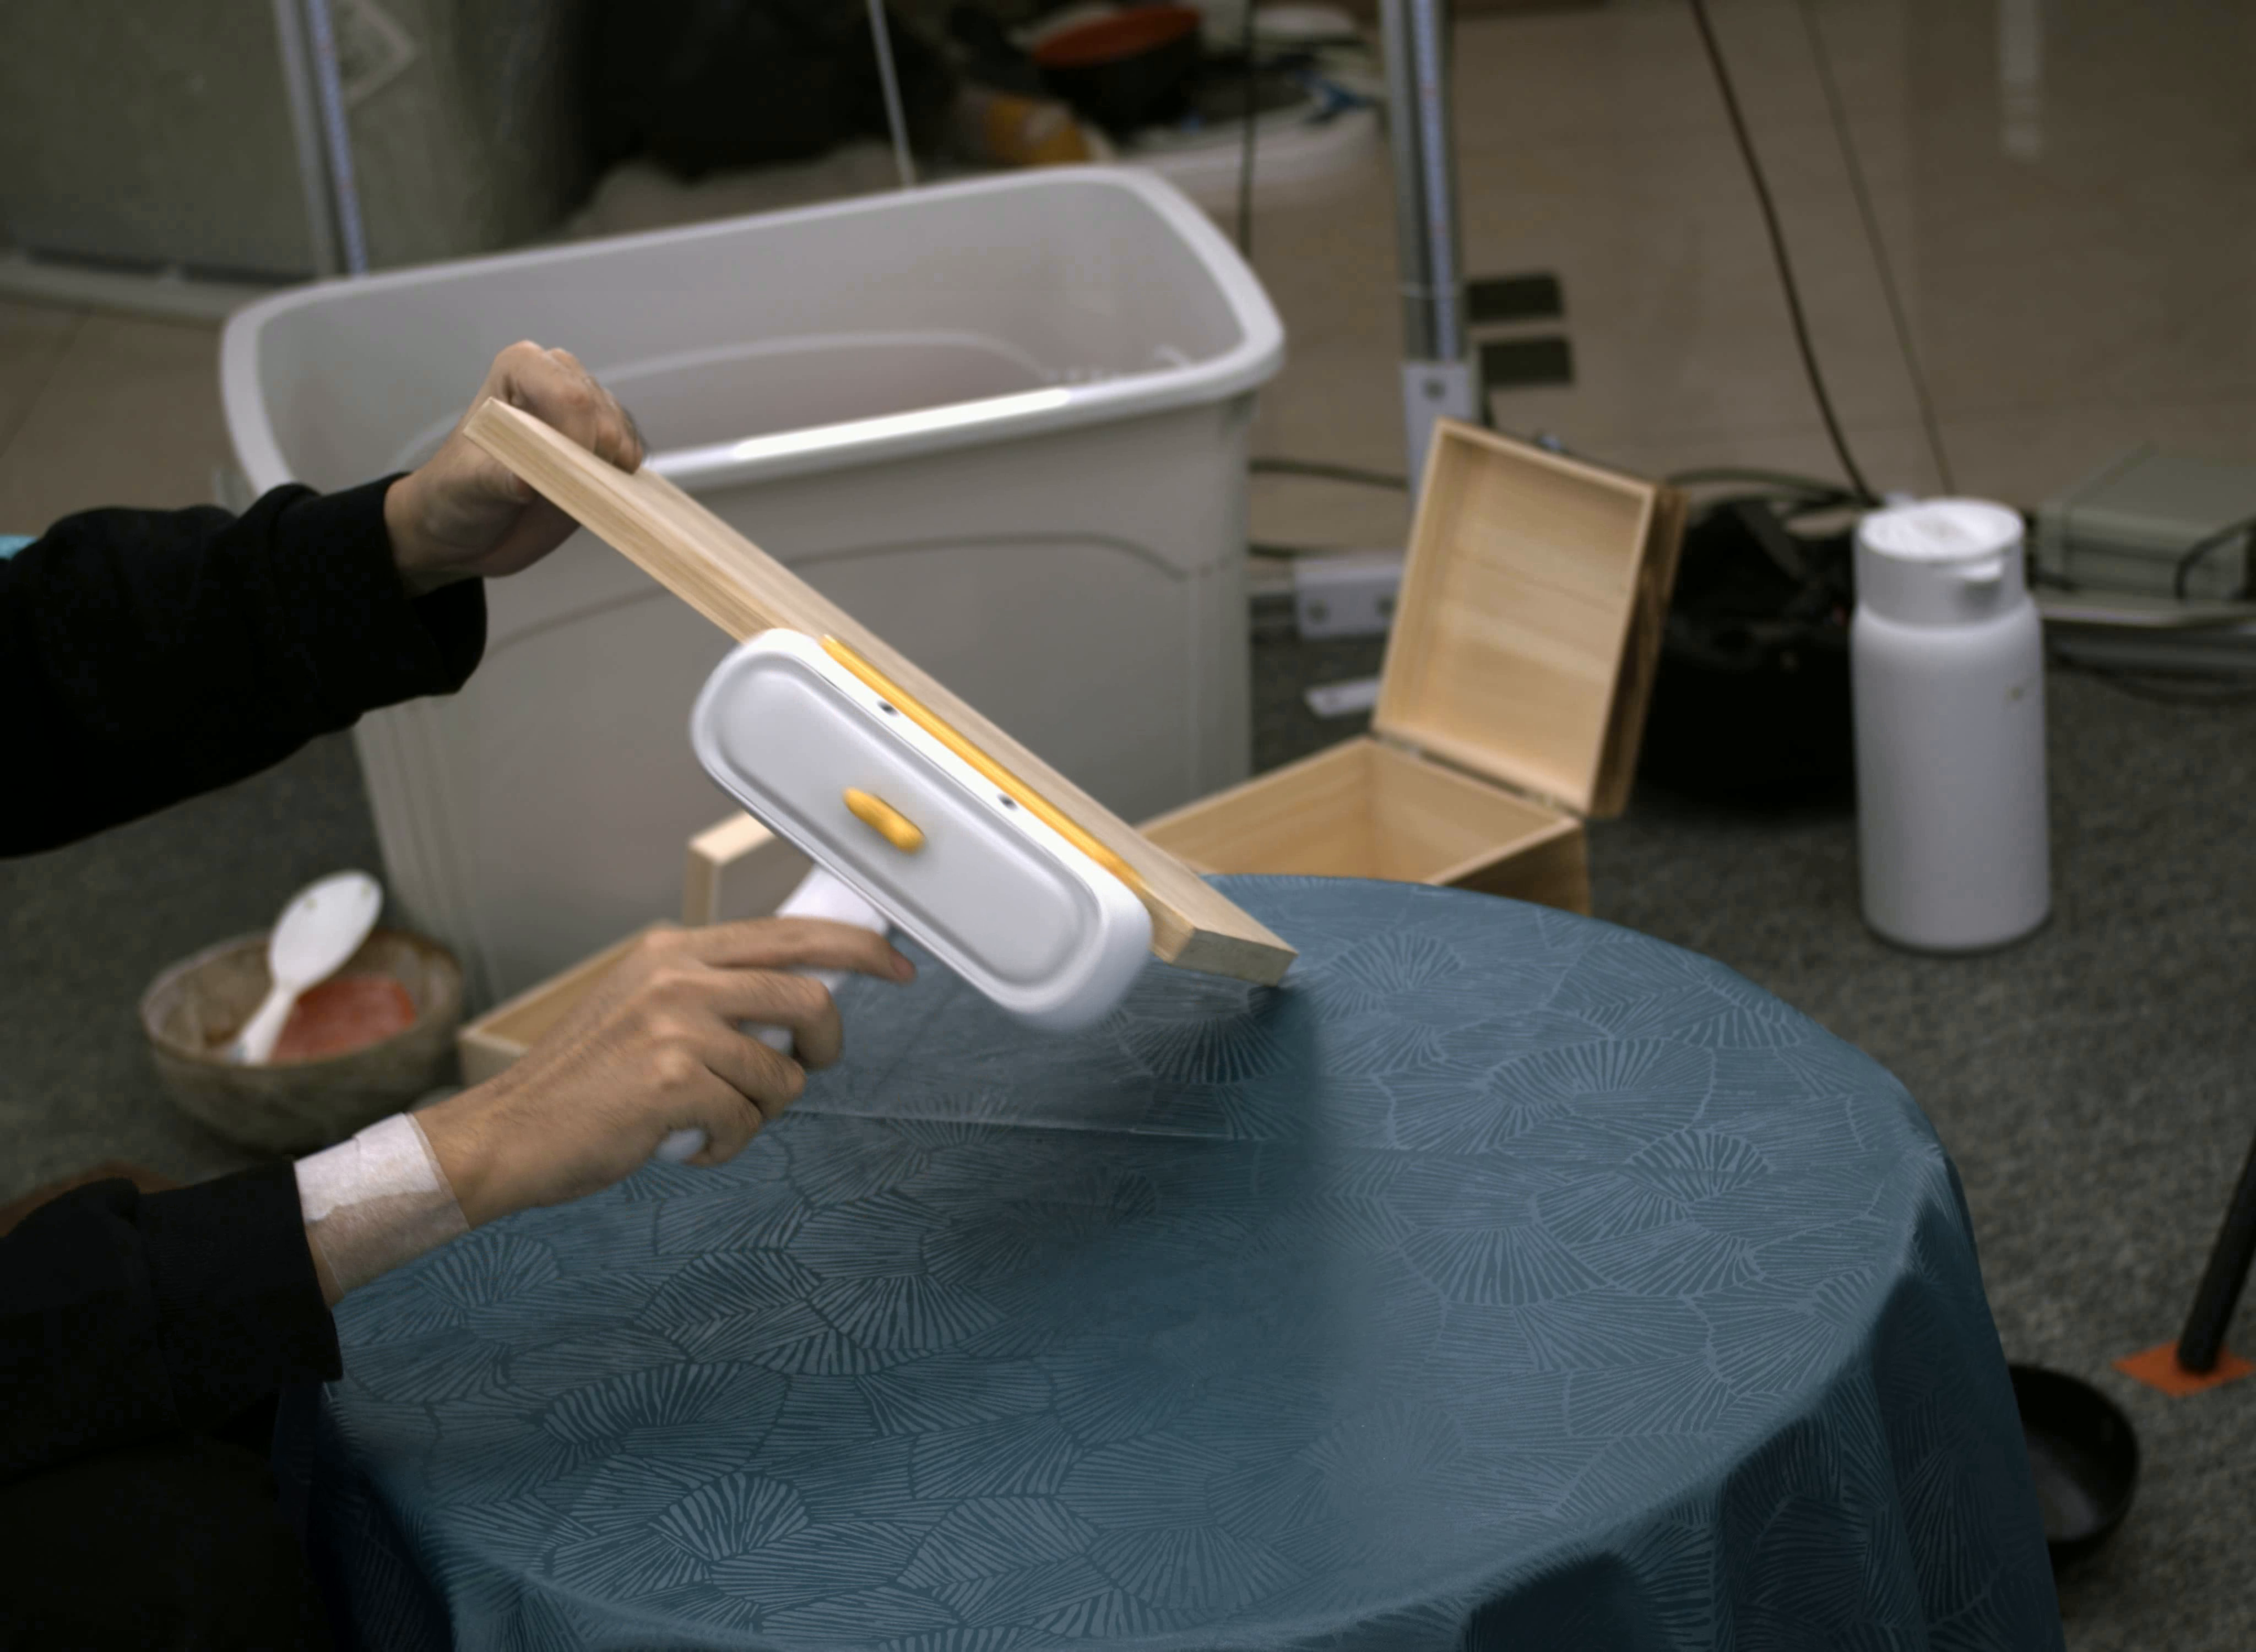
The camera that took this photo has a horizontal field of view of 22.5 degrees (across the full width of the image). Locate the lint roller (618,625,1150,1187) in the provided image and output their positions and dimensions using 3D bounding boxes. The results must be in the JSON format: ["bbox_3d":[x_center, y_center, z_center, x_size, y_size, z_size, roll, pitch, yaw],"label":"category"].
[{"bbox_3d":[-0.113,0.047,2.037,0.192,0.192,0.074,36,-2,9],"label":"lint roller"}]

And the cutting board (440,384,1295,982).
[{"bbox_3d":[-0.096,-0.051,2.203,0.347,0.023,0.251,37,4,10],"label":"cutting board"}]
